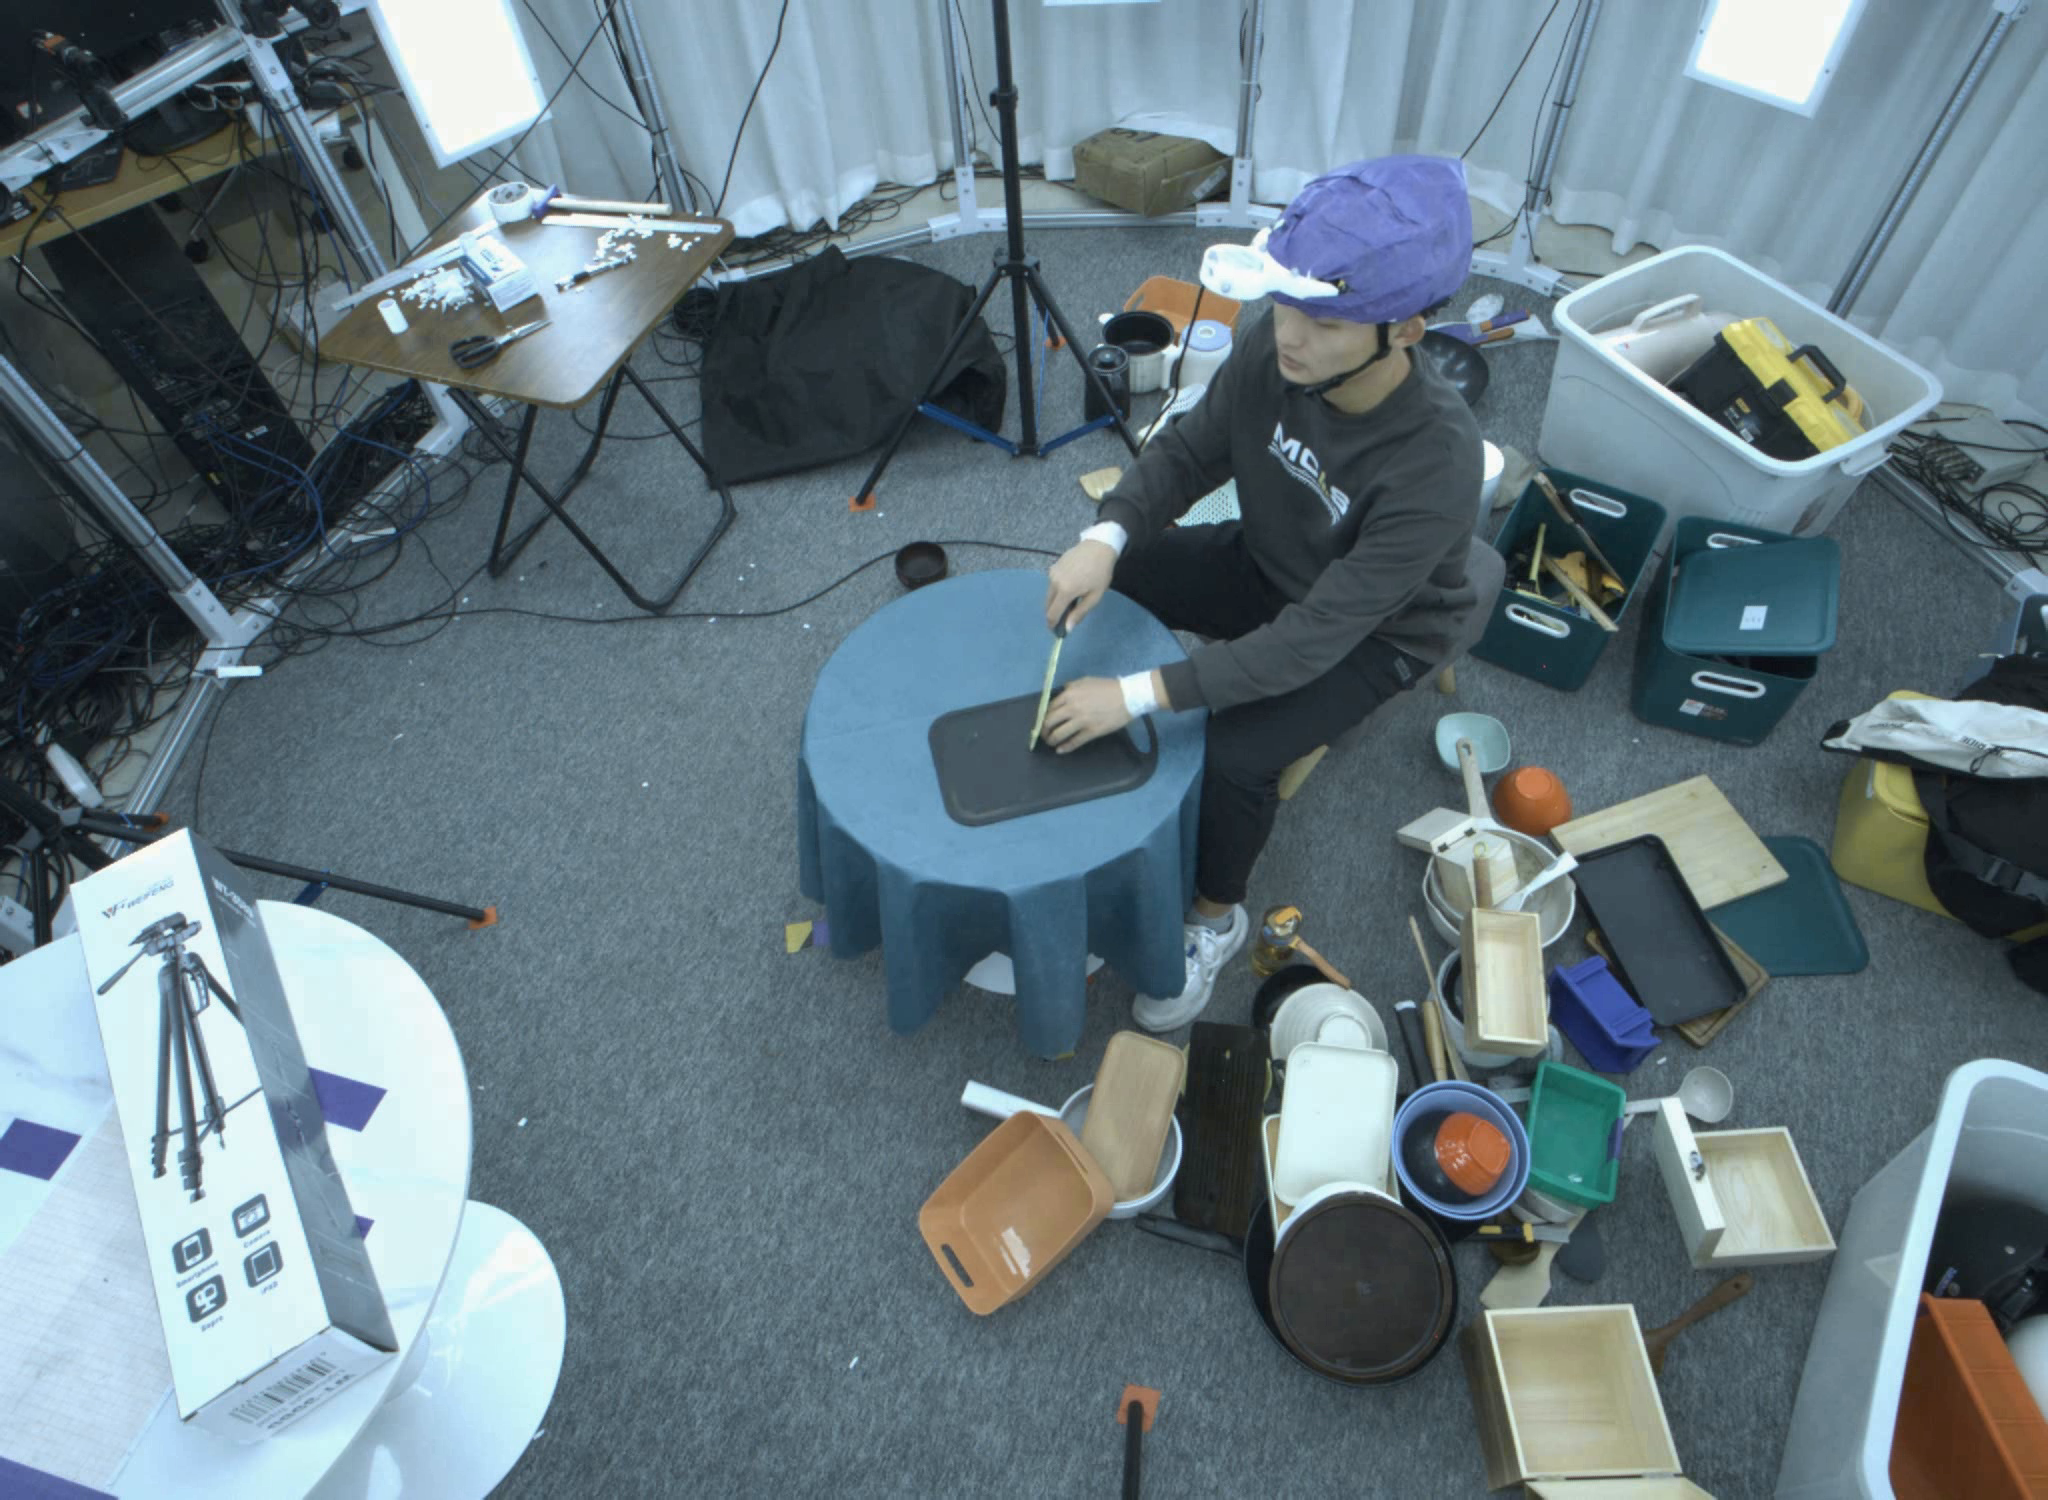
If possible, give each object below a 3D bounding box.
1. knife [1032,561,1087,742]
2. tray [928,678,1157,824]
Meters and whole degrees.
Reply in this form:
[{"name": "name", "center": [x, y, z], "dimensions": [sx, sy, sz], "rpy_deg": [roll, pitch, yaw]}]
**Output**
[{"name": "knife", "center": [0.047, -0.146, 1.811], "dimensions": [0.027, 0.080, 0.288], "rpy_deg": [17, 74, -8]}, {"name": "tray", "center": [0.030, -0.006, 1.794], "dimensions": [0.327, 0.010, 0.208], "rpy_deg": [-13, 55, -8]}]
